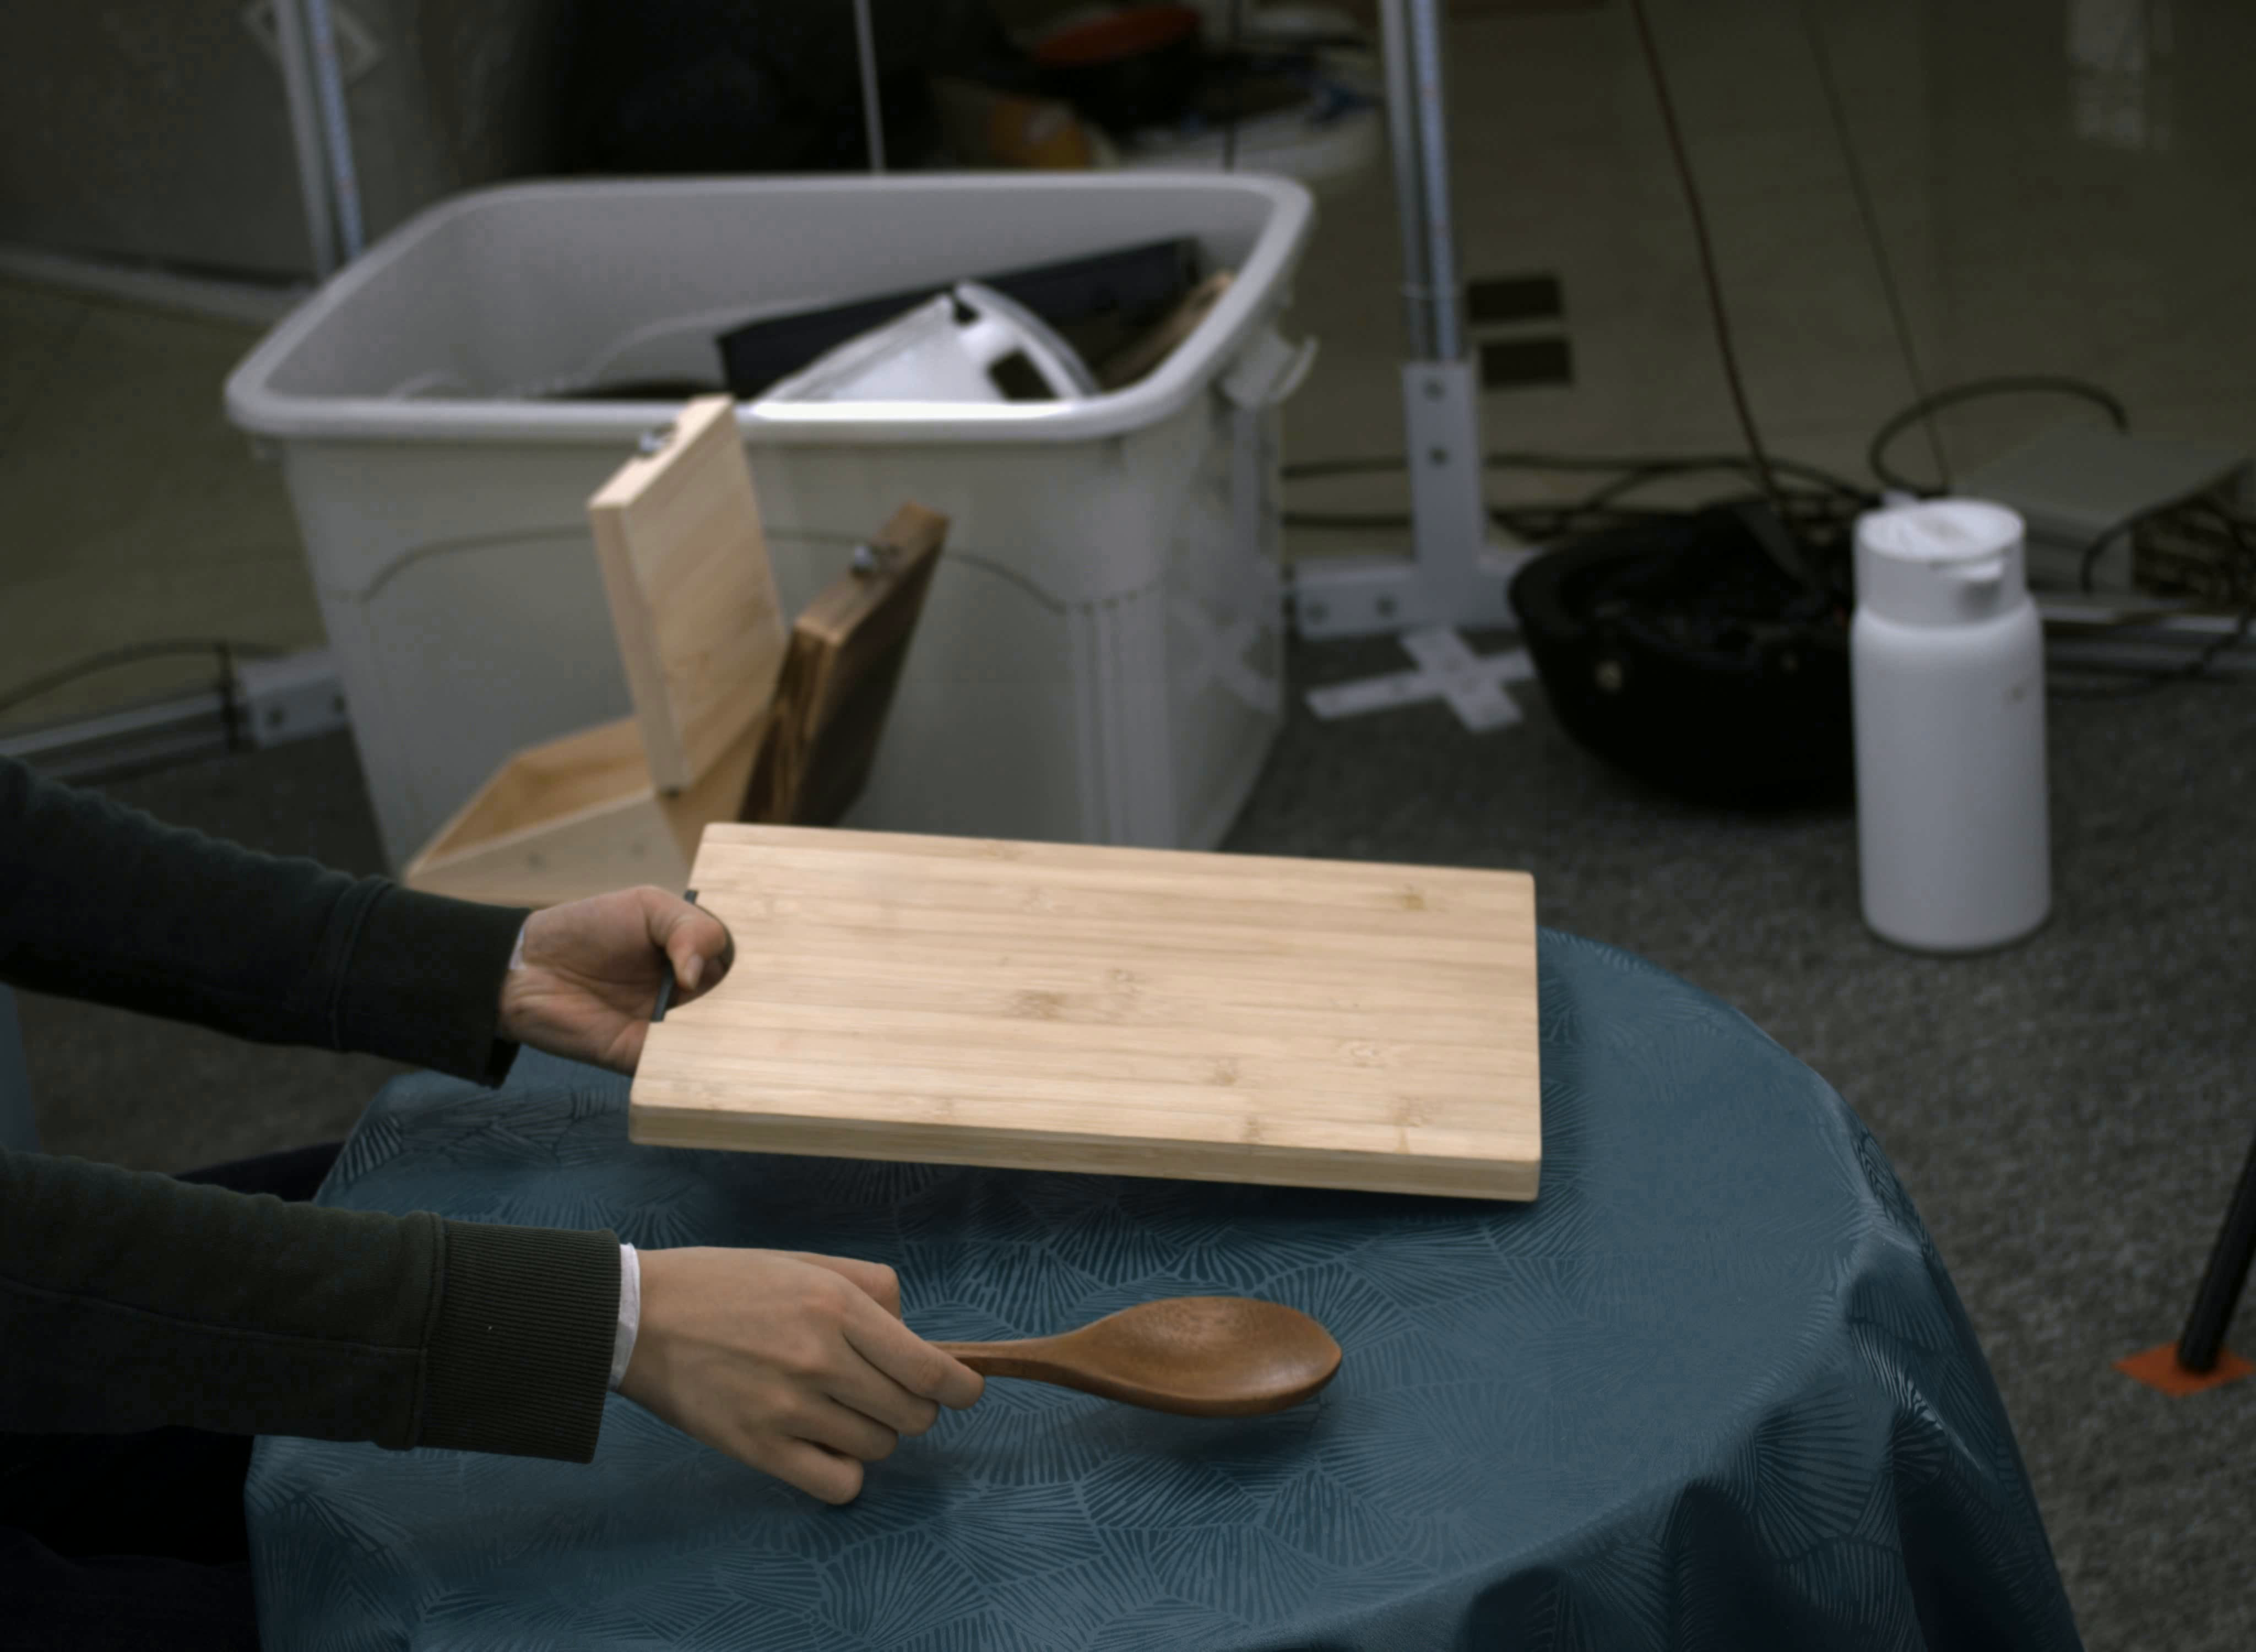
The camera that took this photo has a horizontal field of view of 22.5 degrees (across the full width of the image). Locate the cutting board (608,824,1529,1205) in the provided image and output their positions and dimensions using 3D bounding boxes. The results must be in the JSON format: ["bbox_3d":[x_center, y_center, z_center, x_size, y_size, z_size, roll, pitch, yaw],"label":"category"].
[{"bbox_3d":[-0.015,0.070,2.206,0.348,0.024,0.247,4,26,1],"label":"cutting board"}]

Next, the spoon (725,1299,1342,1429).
[{"bbox_3d":[-0.033,0.188,1.985,0.215,0.017,0.074,2,27,-3],"label":"spoon"}]
